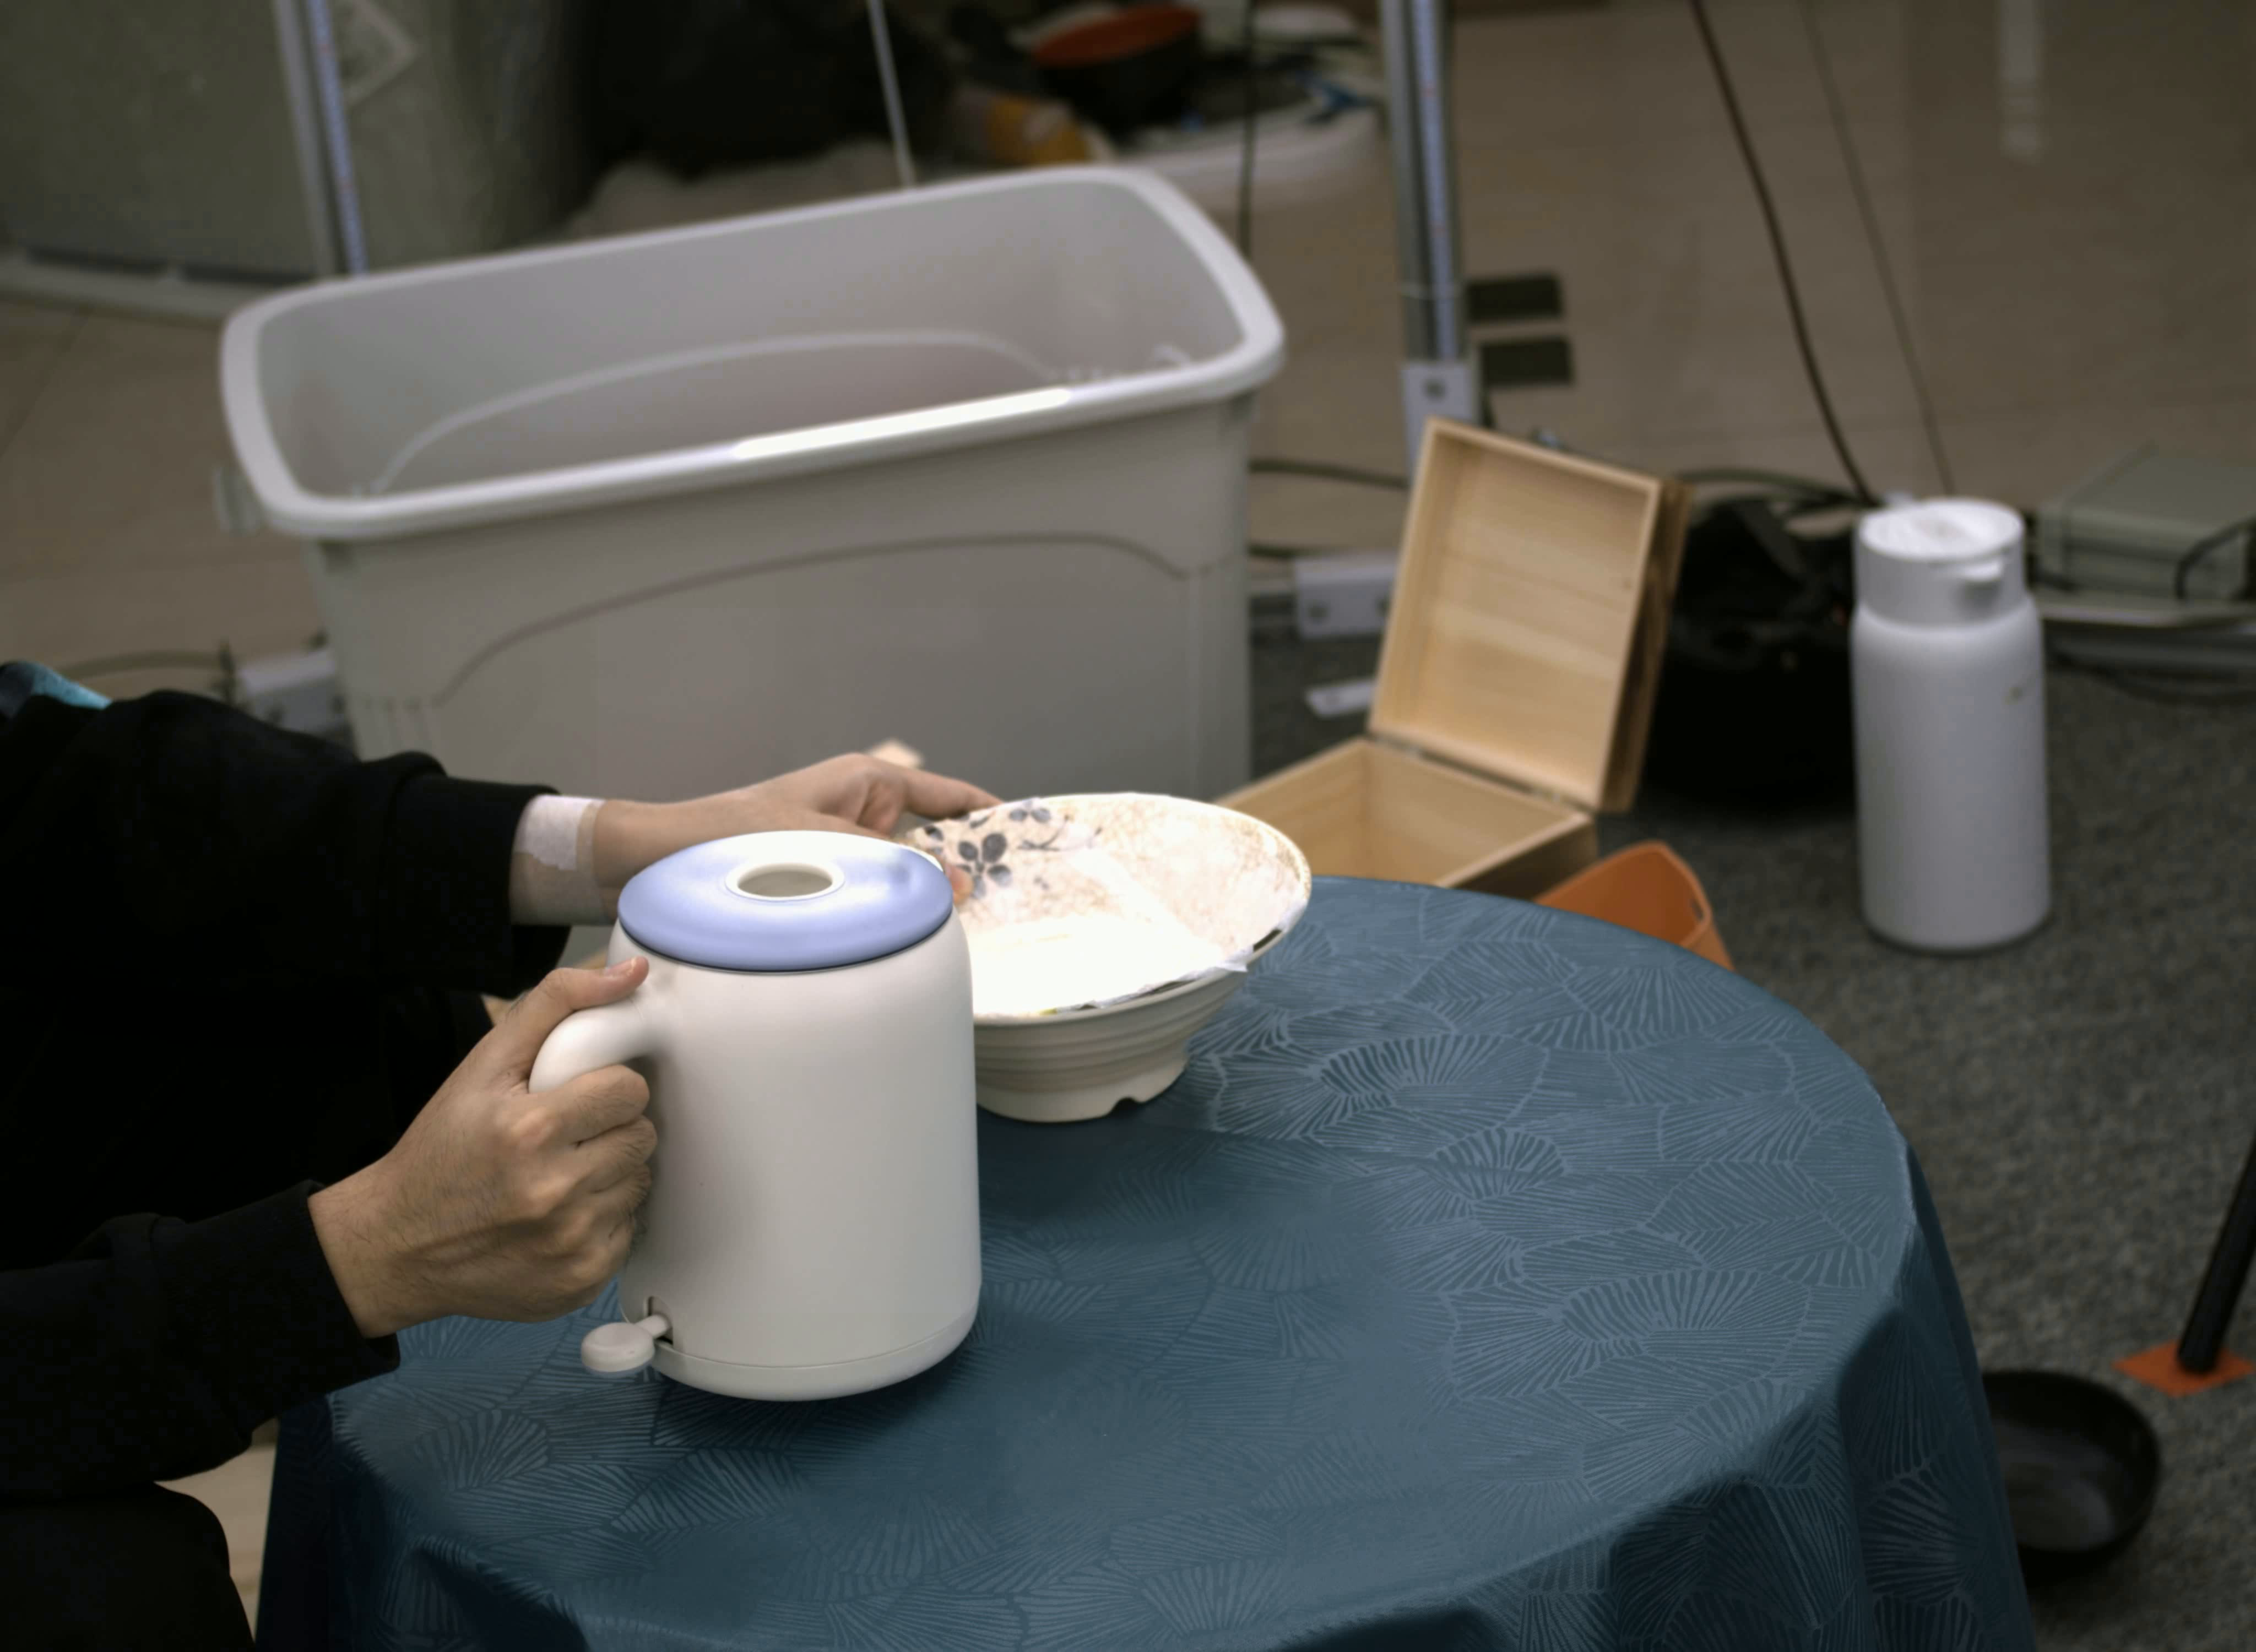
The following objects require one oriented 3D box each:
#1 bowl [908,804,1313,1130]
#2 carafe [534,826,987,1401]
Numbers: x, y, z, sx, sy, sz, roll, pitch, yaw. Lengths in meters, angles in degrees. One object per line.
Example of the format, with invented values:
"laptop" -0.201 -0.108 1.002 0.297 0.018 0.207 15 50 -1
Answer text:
"bowl" -0.022 0.065 2.219 0.204 0.079 0.201 -9 22 4
"carafe" -0.136 0.109 2.005 0.189 0.185 0.131 -24 31 -39
